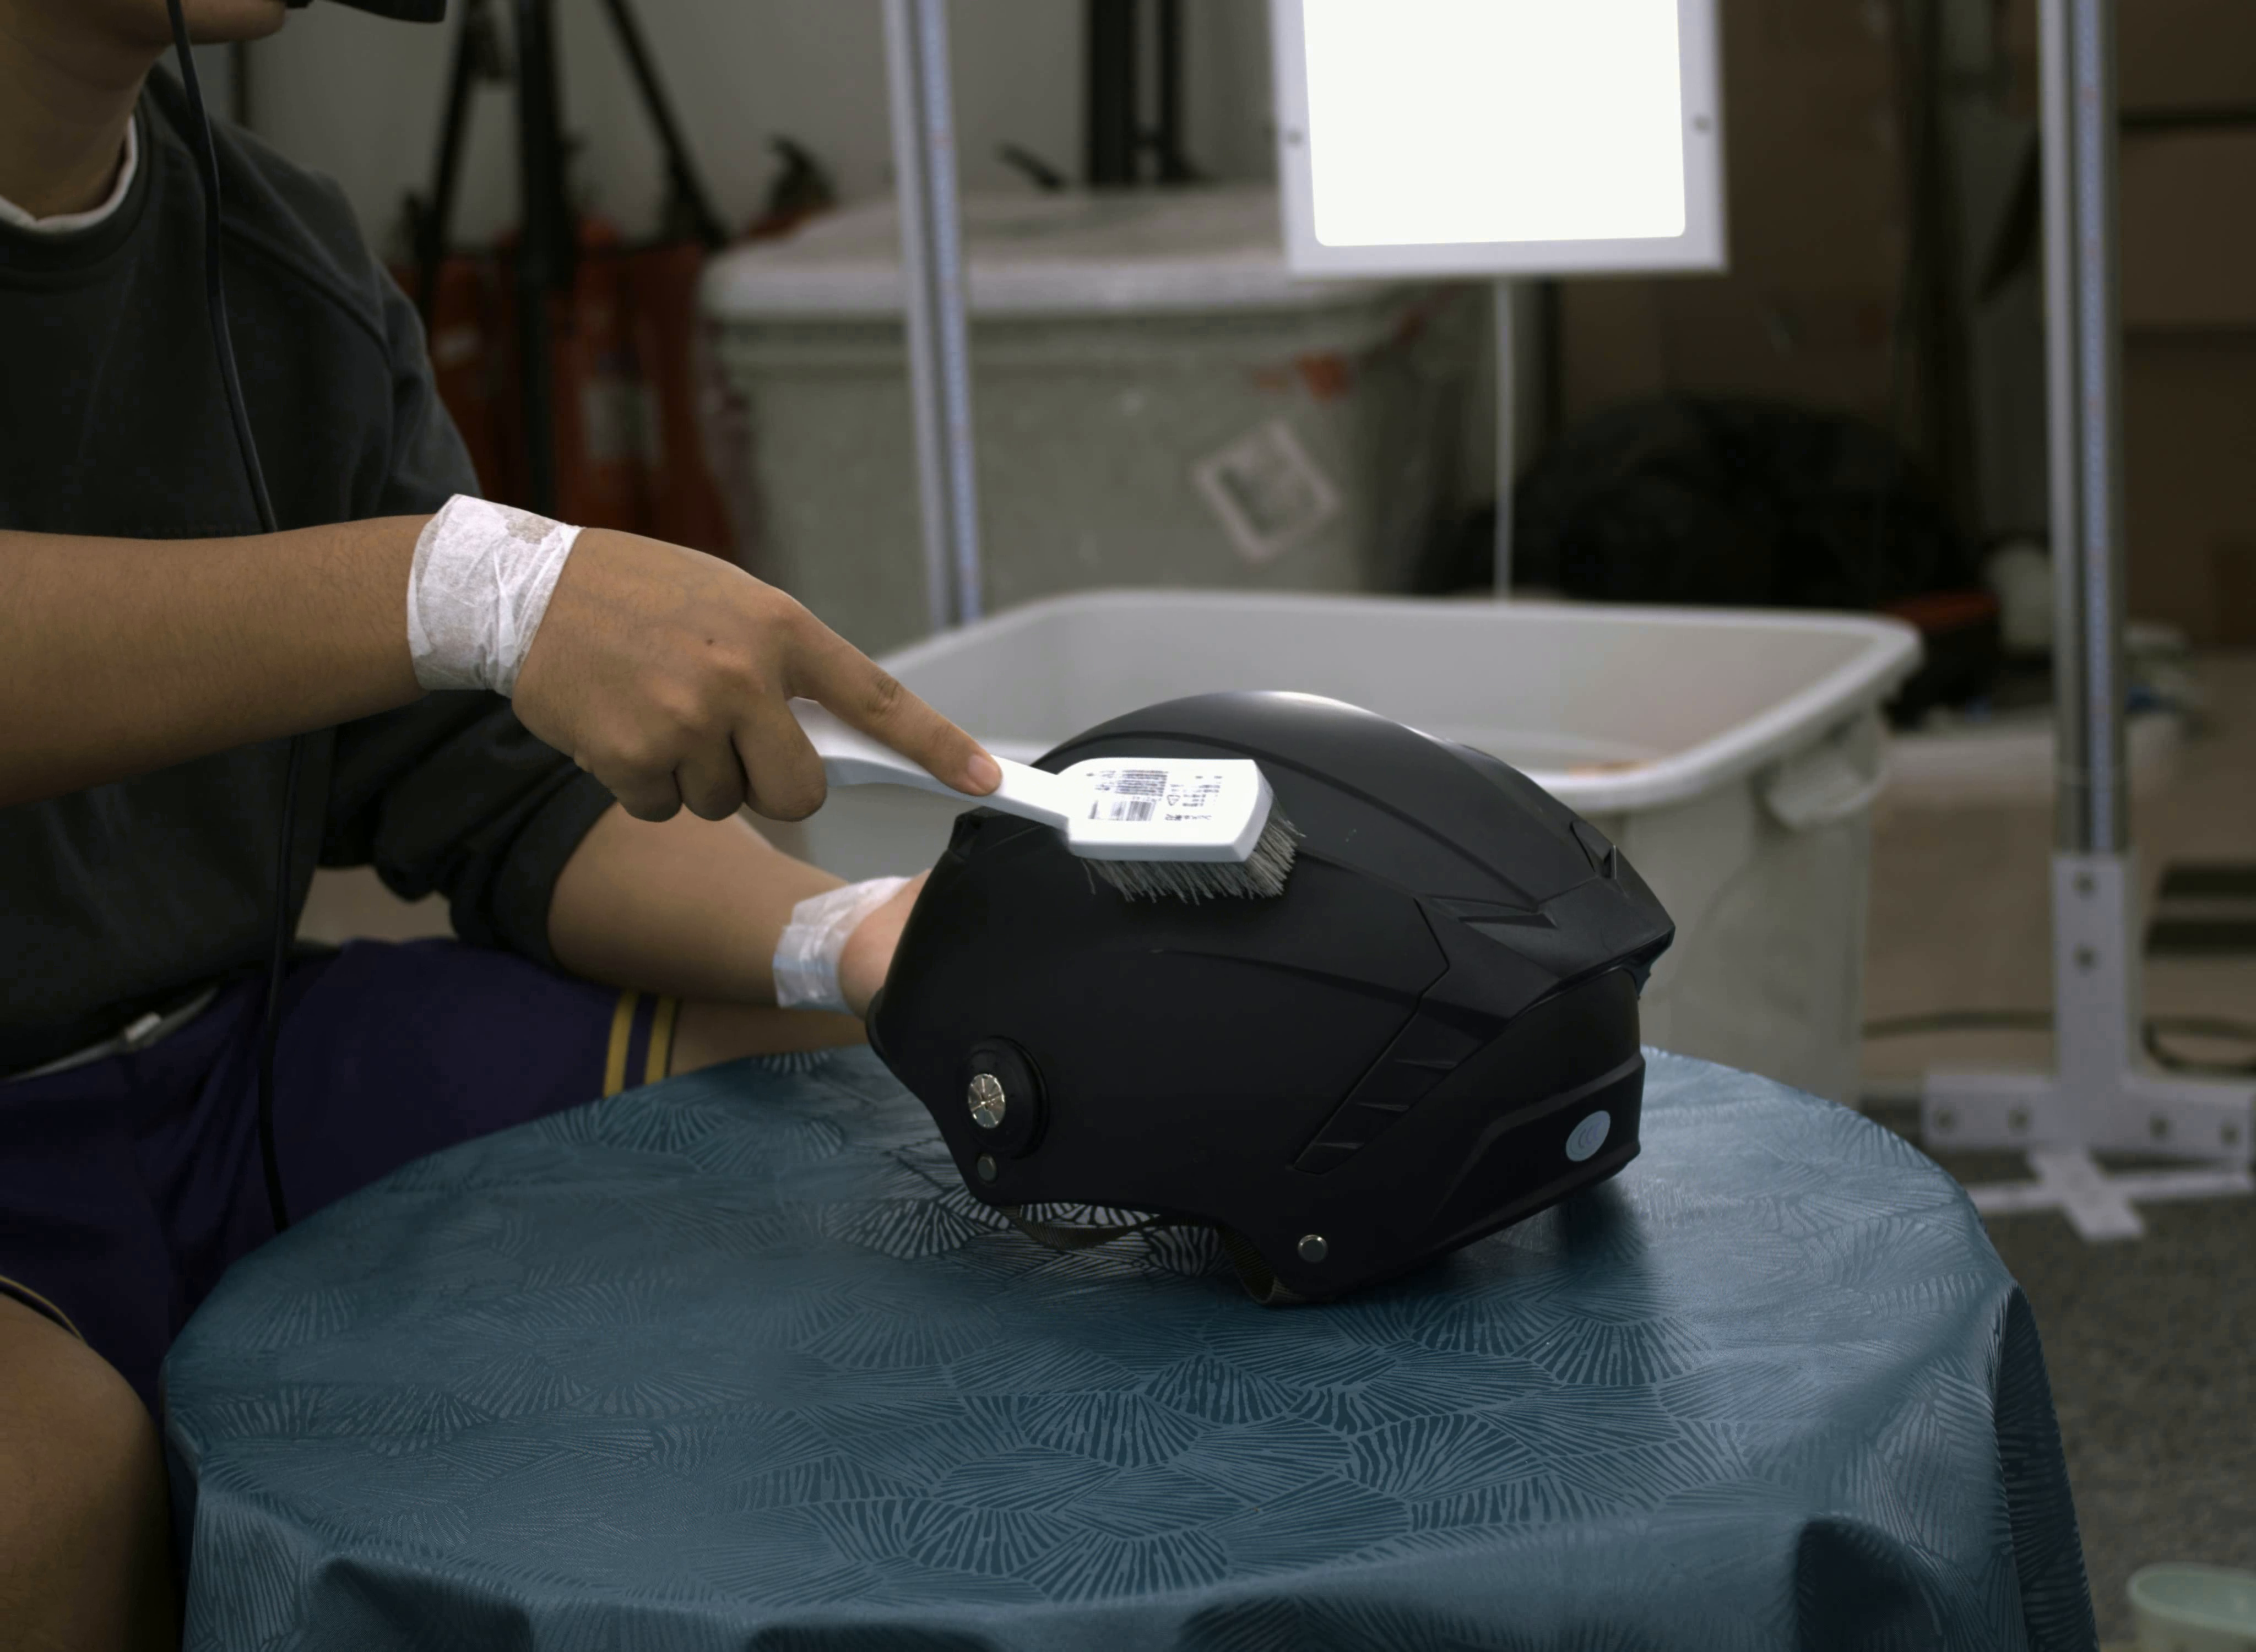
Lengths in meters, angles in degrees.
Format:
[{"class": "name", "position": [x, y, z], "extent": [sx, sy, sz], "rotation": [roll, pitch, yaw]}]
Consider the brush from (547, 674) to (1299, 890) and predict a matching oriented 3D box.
[{"class": "brush", "position": [-0.066, -0.014, 1.760], "extent": [0.245, 0.050, 0.034], "rotation": [8, 60, 11]}]

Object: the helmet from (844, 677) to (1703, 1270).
[{"class": "helmet", "position": [0.051, 0.038, 1.847], "extent": [0.281, 0.174, 0.240], "rotation": [25, 28, 34]}]
